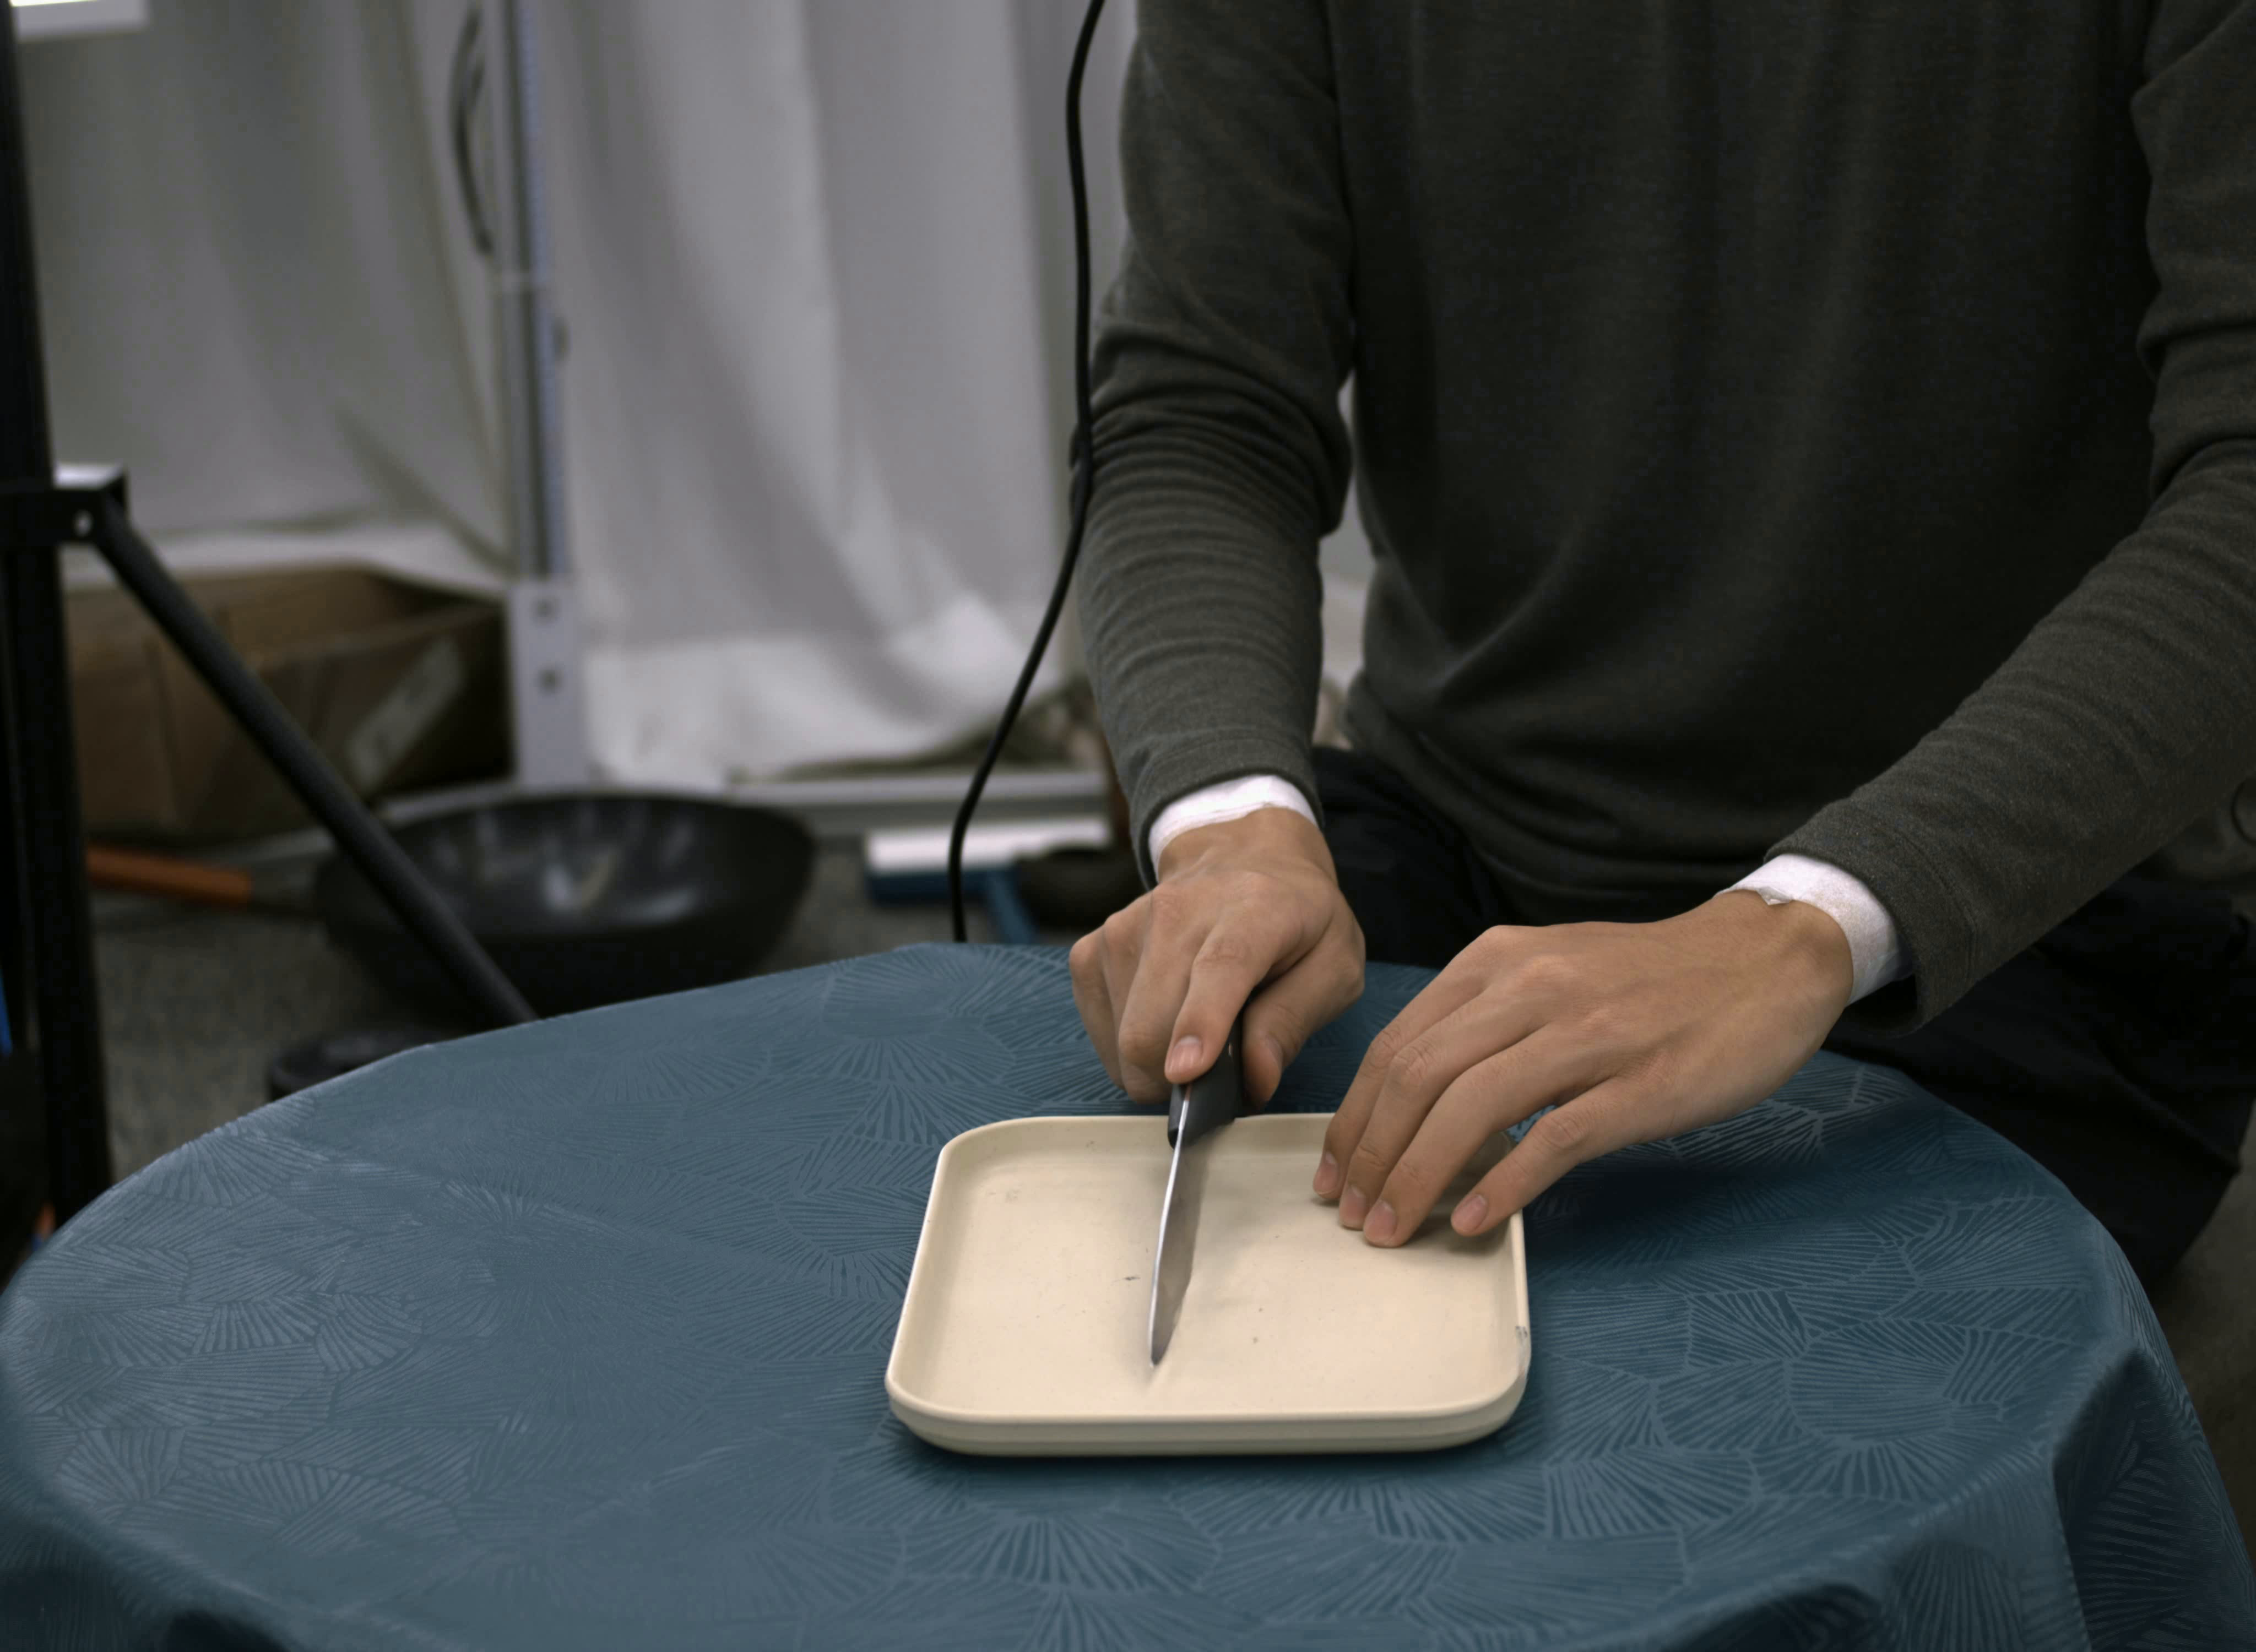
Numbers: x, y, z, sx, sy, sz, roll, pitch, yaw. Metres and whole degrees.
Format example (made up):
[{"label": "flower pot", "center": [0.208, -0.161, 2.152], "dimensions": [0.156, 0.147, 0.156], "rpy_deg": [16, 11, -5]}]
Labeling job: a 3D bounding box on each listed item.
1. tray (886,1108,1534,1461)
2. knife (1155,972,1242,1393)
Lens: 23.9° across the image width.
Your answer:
[{"label": "tray", "center": [0.026, 0.125, 1.464], "dimensions": [0.171, 0.017, 0.240], "rpy_deg": [-2, 16, 5]}, {"label": "knife", "center": [0.018, 0.097, 1.506], "dimensions": [0.016, 0.024, 0.239], "rpy_deg": [-15, 22, 12]}]
